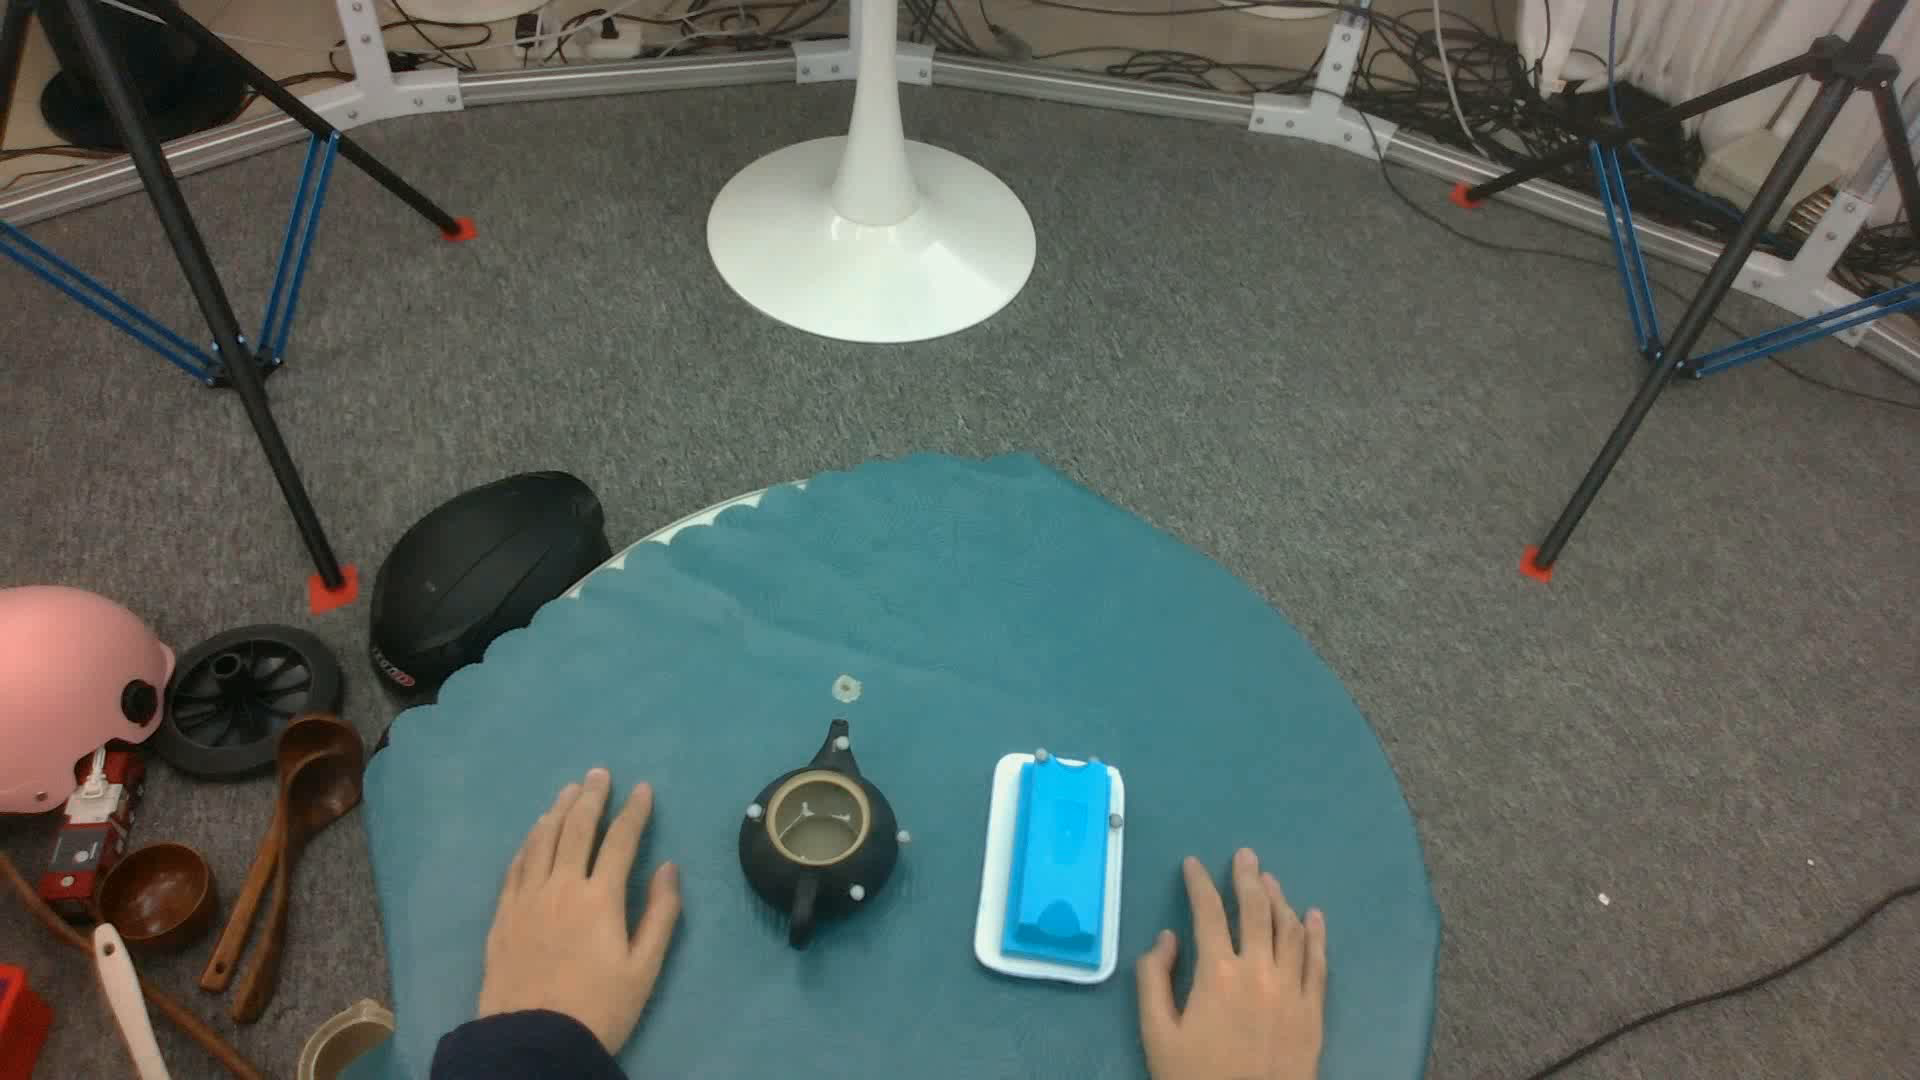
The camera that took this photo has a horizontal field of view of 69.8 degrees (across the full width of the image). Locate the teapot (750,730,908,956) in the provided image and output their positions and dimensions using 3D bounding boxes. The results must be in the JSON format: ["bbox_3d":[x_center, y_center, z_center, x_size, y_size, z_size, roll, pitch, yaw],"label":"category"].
[{"bbox_3d":[-0.075,0.176,0.790,0.091,0.053,0.134,7,48,2],"label":"teapot"}]

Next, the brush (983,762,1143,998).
[{"bbox_3d":[0.063,0.186,0.791,0.084,0.055,0.144,7,46,6],"label":"brush"}]
